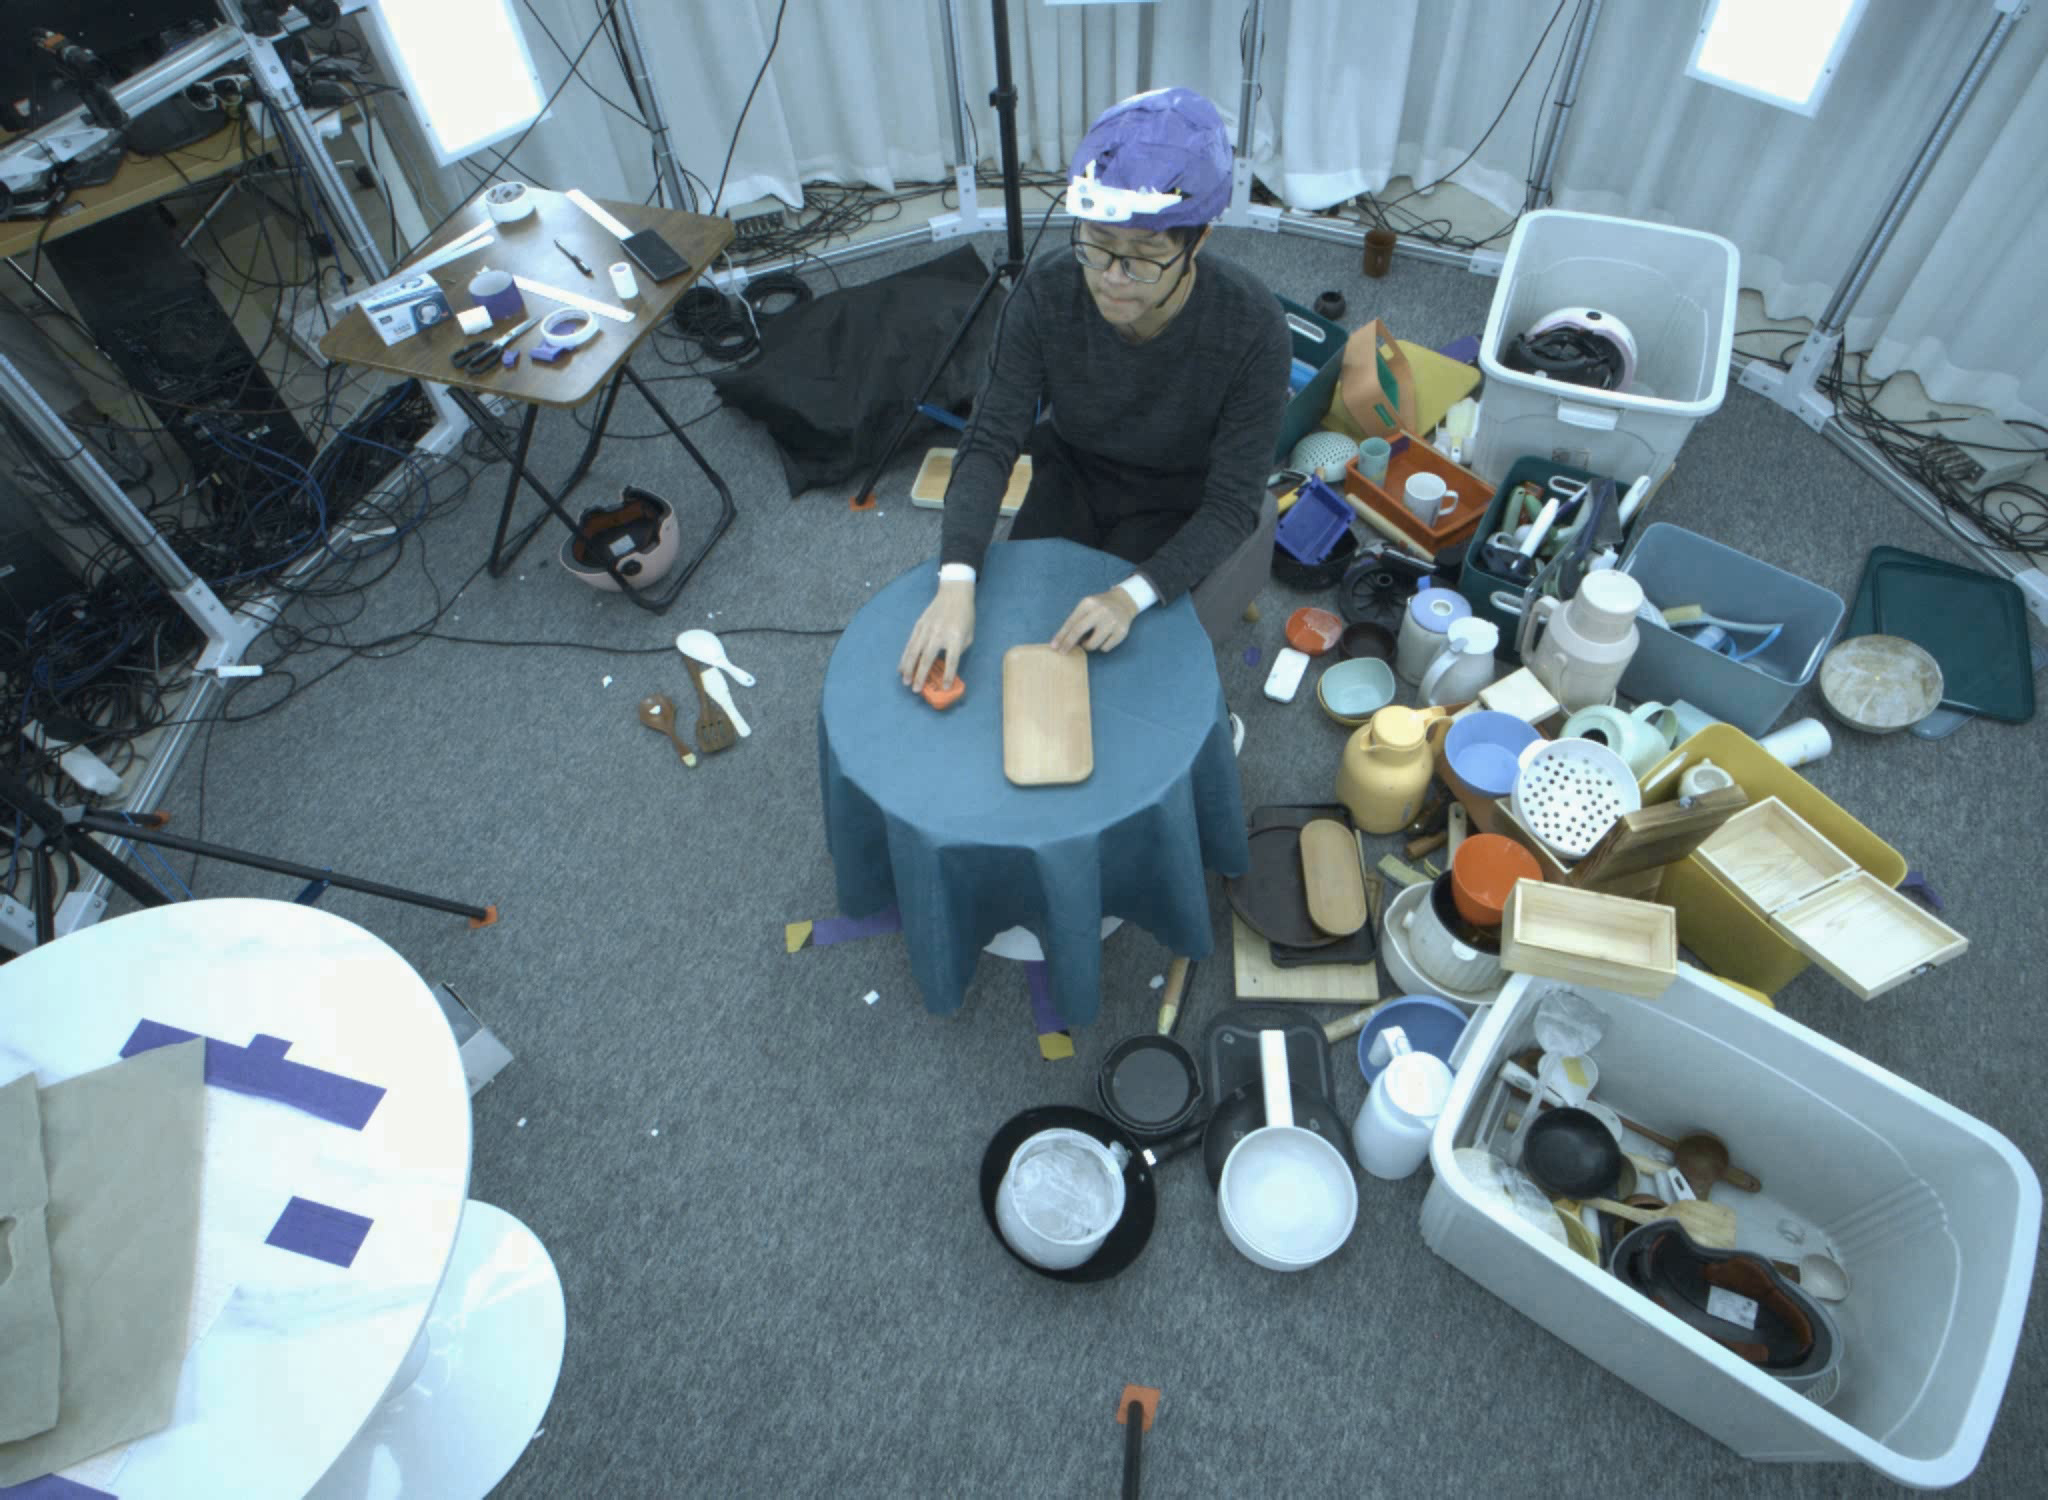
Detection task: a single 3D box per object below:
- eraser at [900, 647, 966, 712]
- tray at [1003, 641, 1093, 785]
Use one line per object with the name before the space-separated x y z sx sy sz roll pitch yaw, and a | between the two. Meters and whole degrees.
eraser | -0.138 -0.108 1.854 0.059 0.023 0.106 -31 60 -21
tray | 0.034 -0.056 1.809 0.130 0.023 0.248 0 57 0
